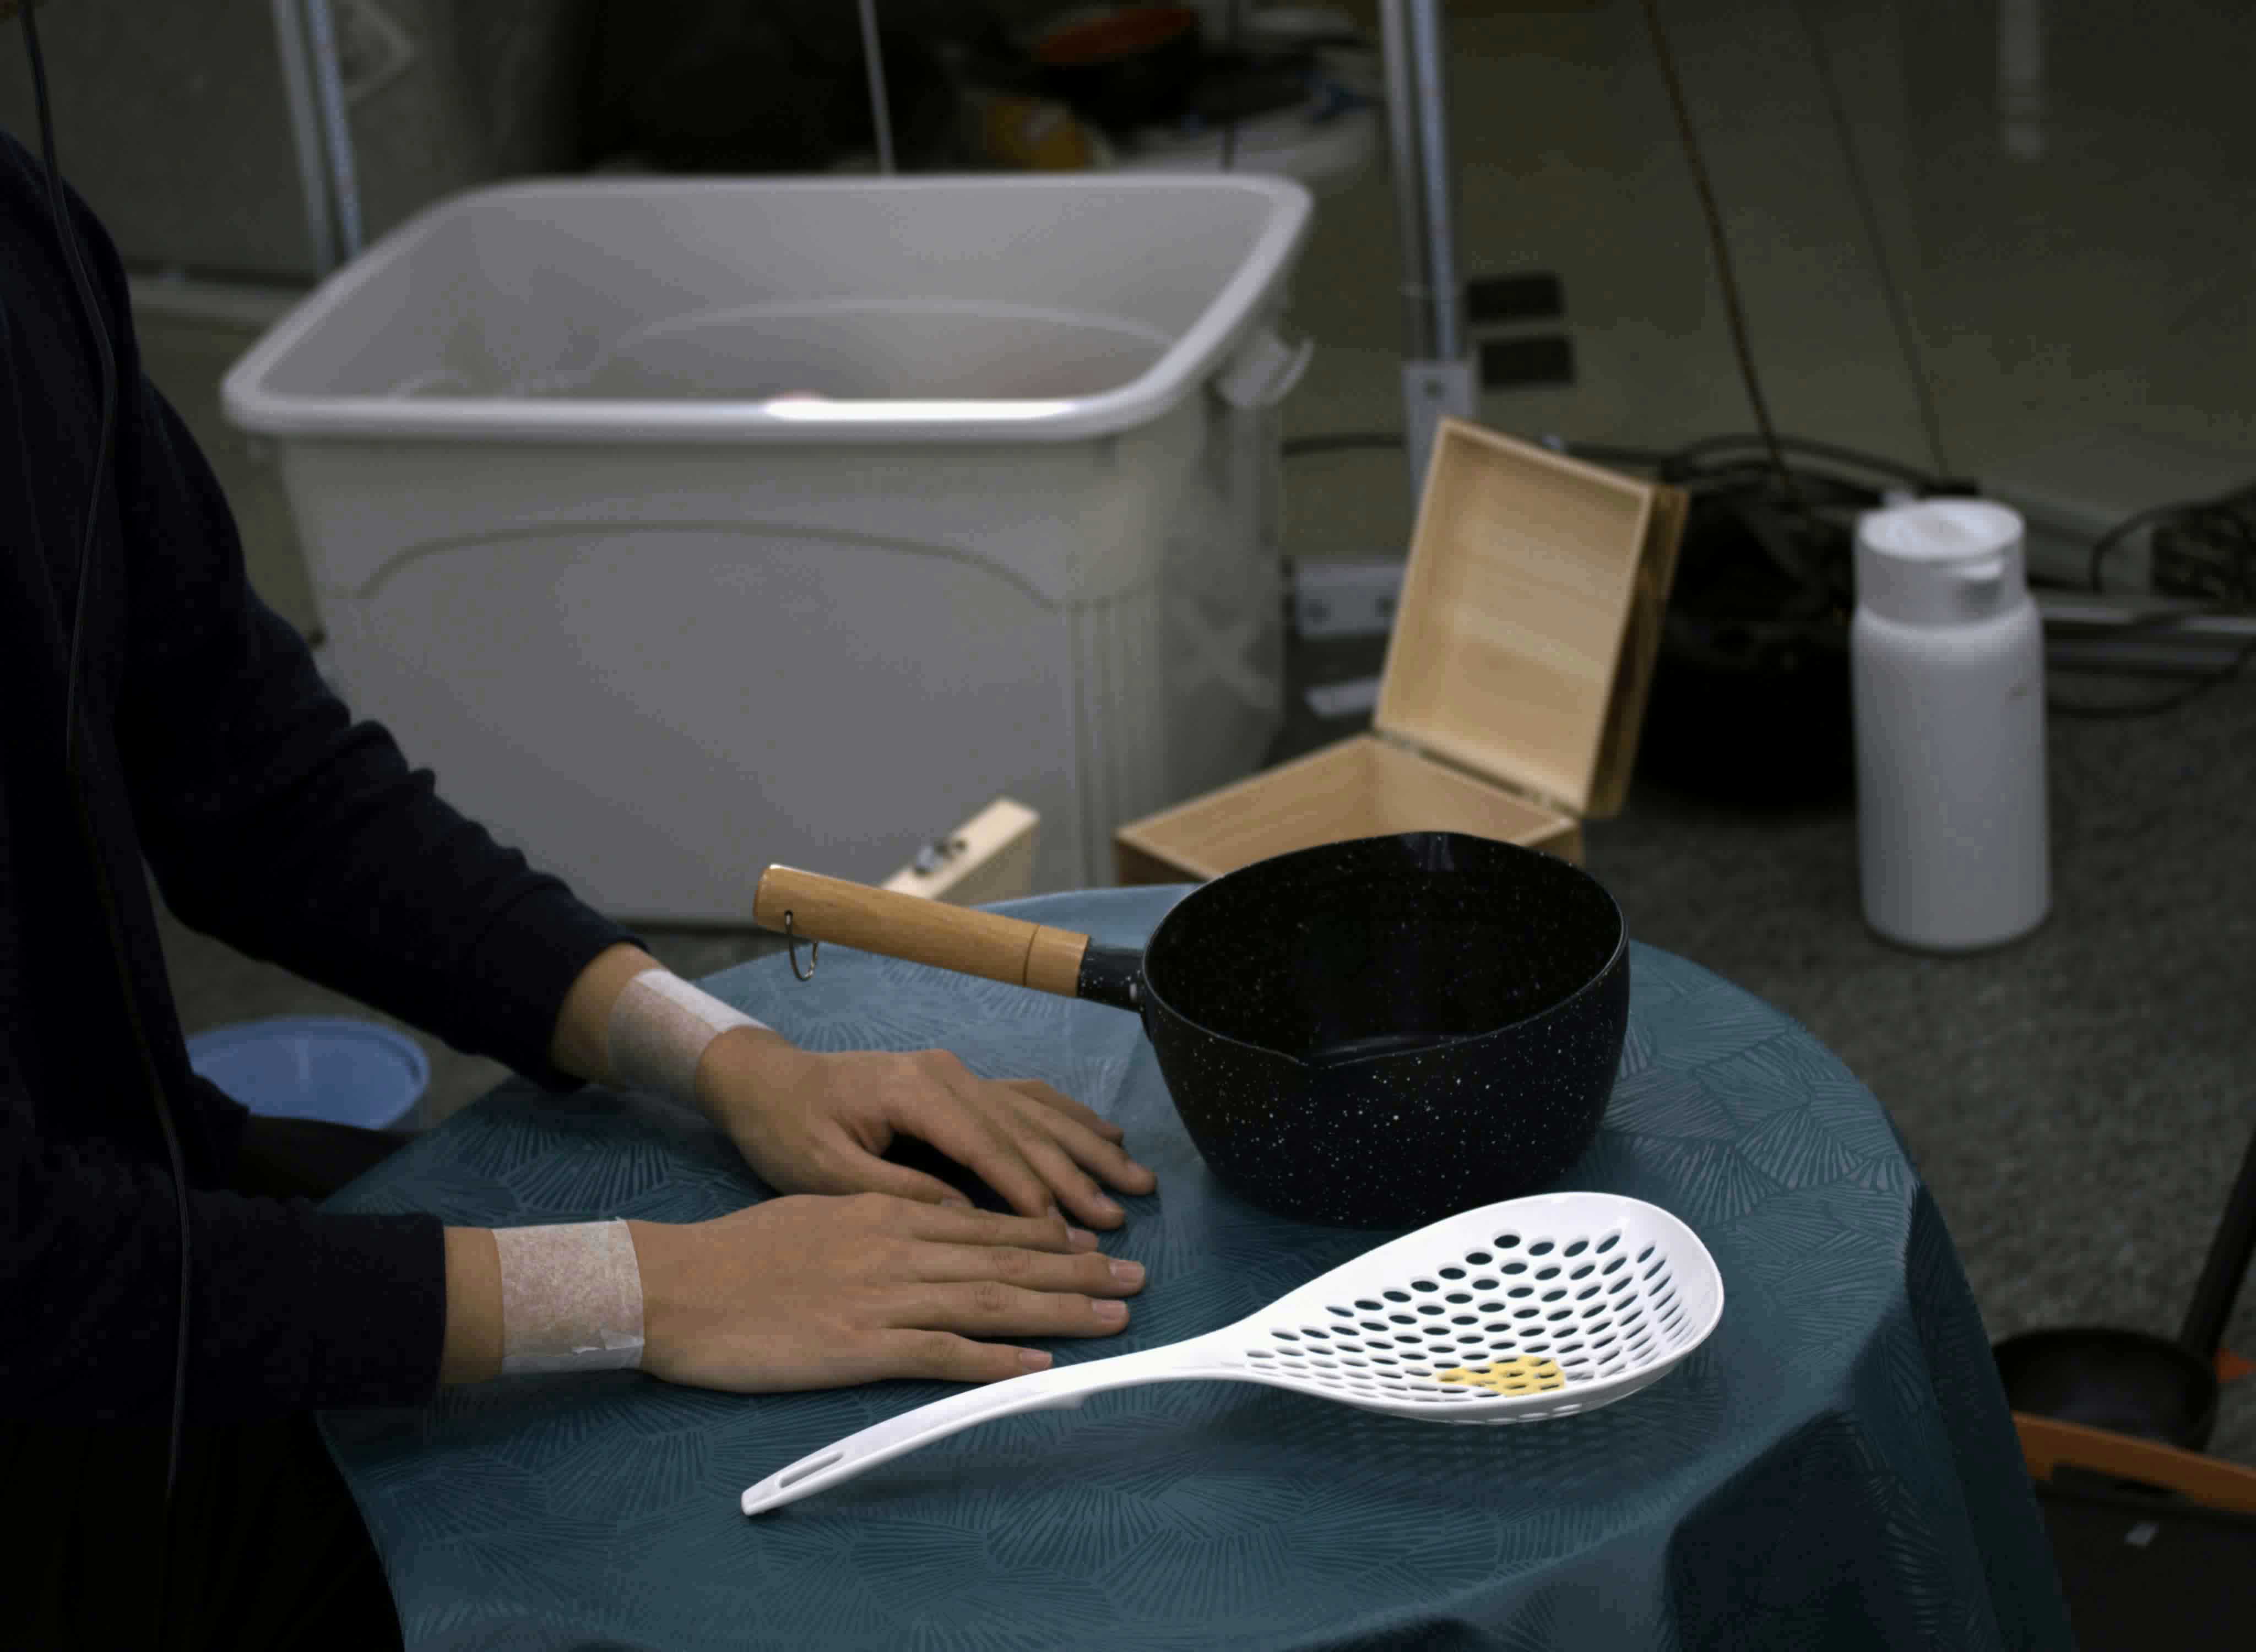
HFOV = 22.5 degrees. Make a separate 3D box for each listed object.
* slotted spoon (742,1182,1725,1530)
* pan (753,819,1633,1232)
[{"bbox_3d":[0.035,0.193,1.971,0.347,0.051,0.135,-8,27,-6],"label":"slotted spoon"},{"bbox_3d":[0.023,0.069,2.162,0.342,0.110,0.204,2,27,14],"label":"pan"}]
